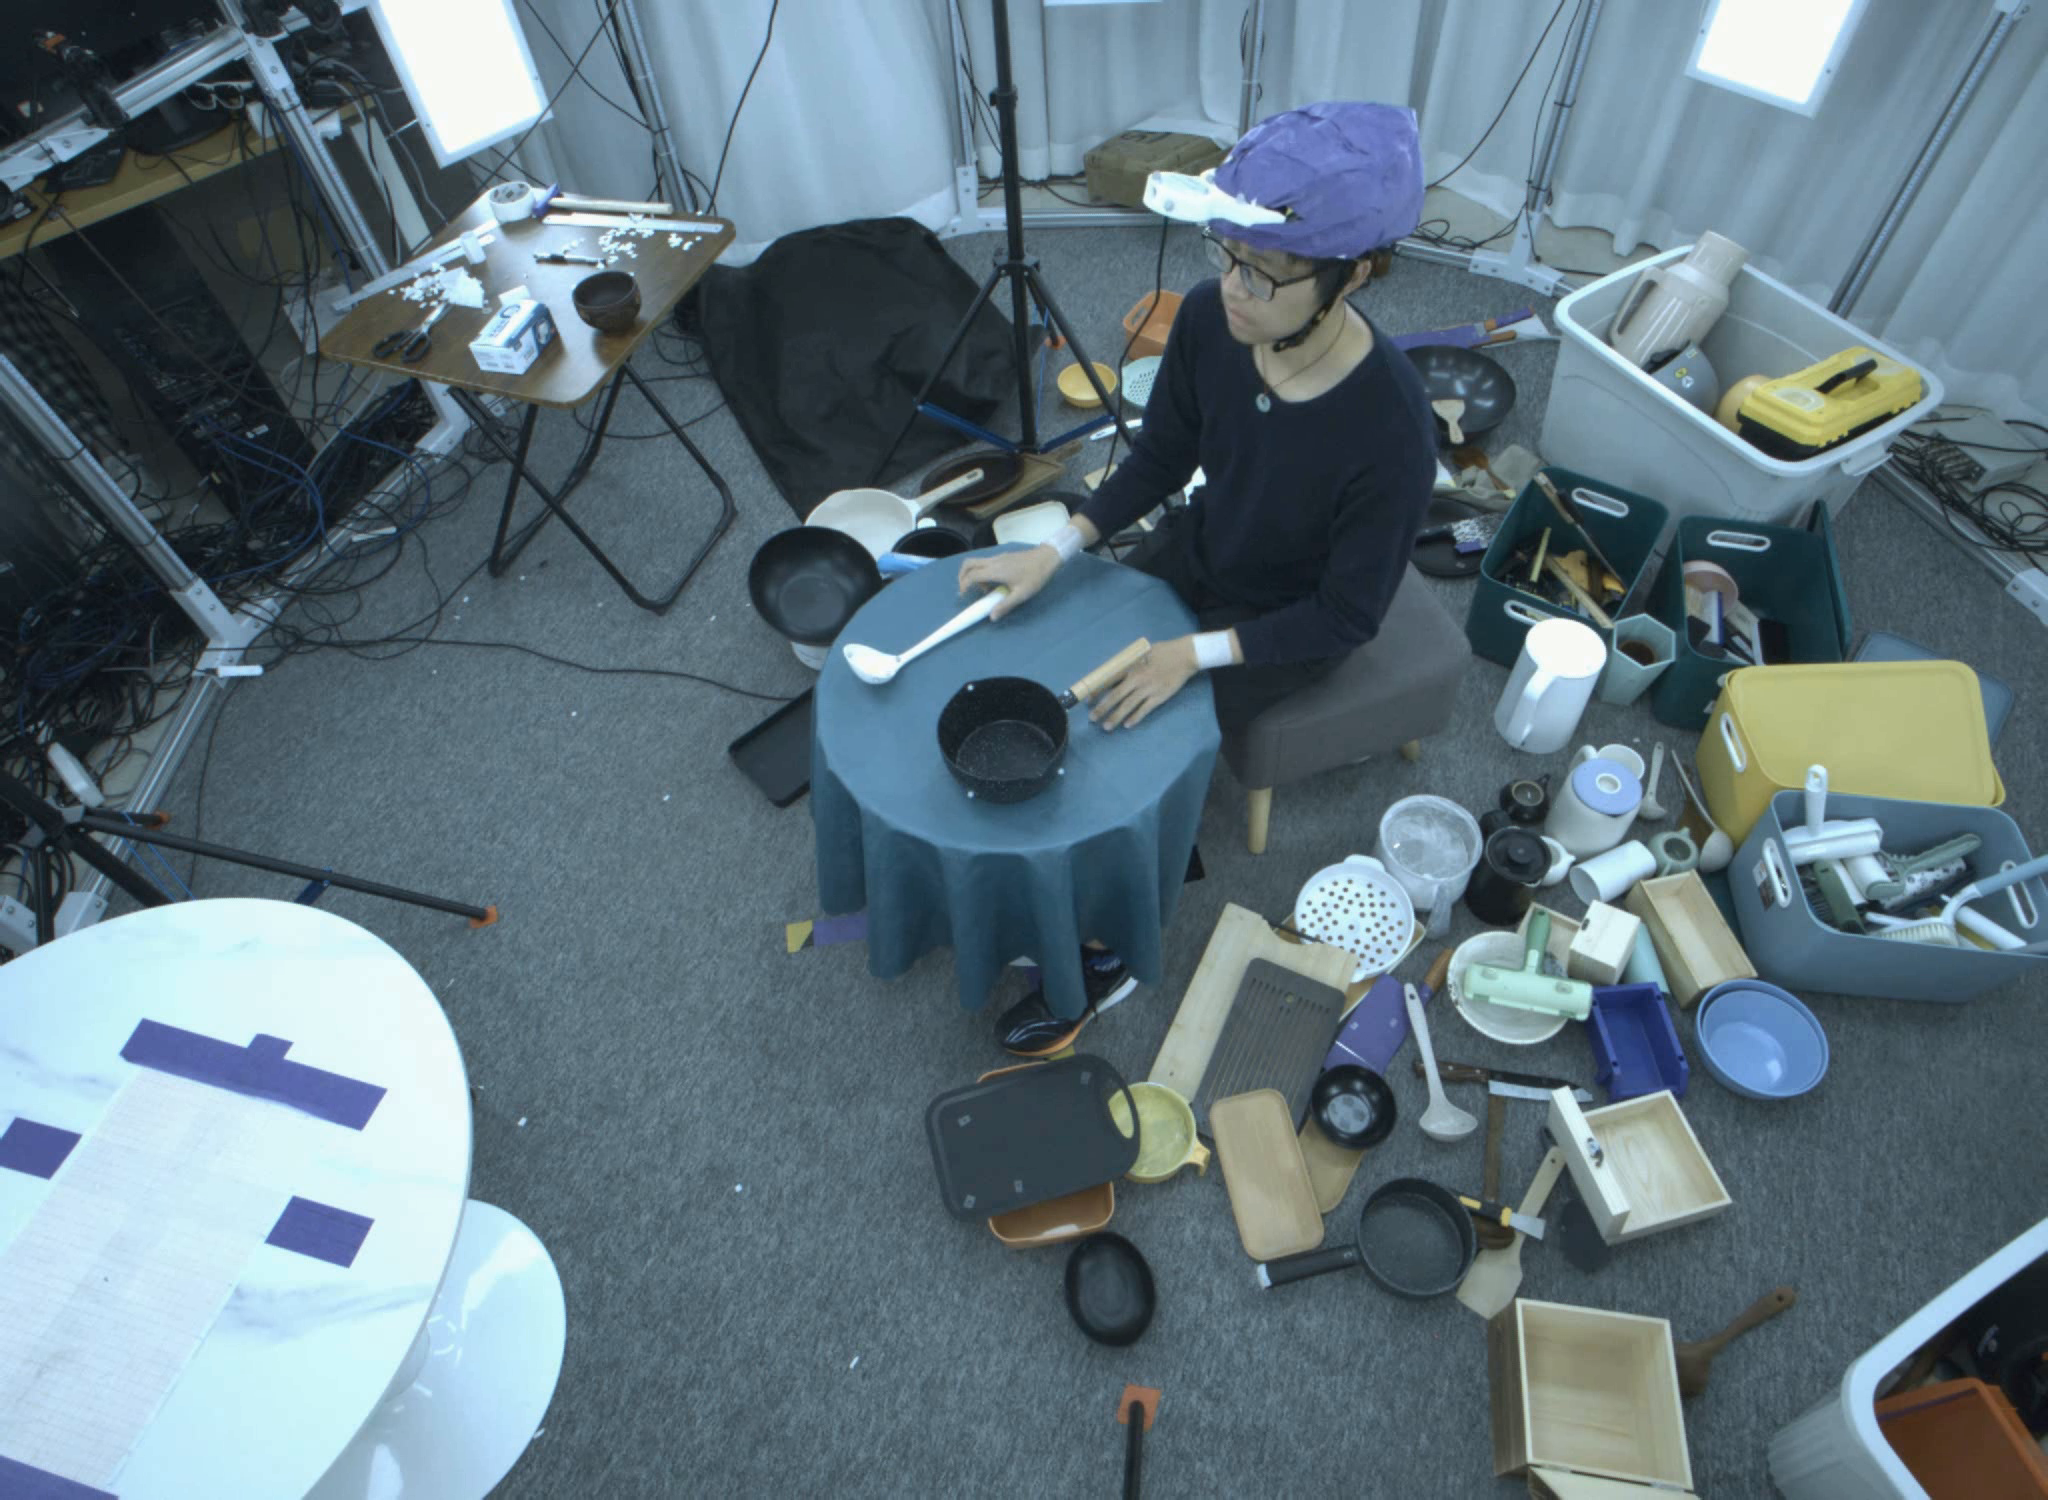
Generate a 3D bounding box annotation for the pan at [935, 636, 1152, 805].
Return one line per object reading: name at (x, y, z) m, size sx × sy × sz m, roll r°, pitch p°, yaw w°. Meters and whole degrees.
pan at (0.037, -0.052, 1.756) m, size 0.345 × 0.109 × 0.203 m, roll -30°, pitch 58°, yaw -16°

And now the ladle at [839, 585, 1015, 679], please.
ladle at (-0.145, -0.192, 1.889) m, size 0.295 × 0.071 × 0.088 m, roll -31°, pitch 46°, yaw -19°
